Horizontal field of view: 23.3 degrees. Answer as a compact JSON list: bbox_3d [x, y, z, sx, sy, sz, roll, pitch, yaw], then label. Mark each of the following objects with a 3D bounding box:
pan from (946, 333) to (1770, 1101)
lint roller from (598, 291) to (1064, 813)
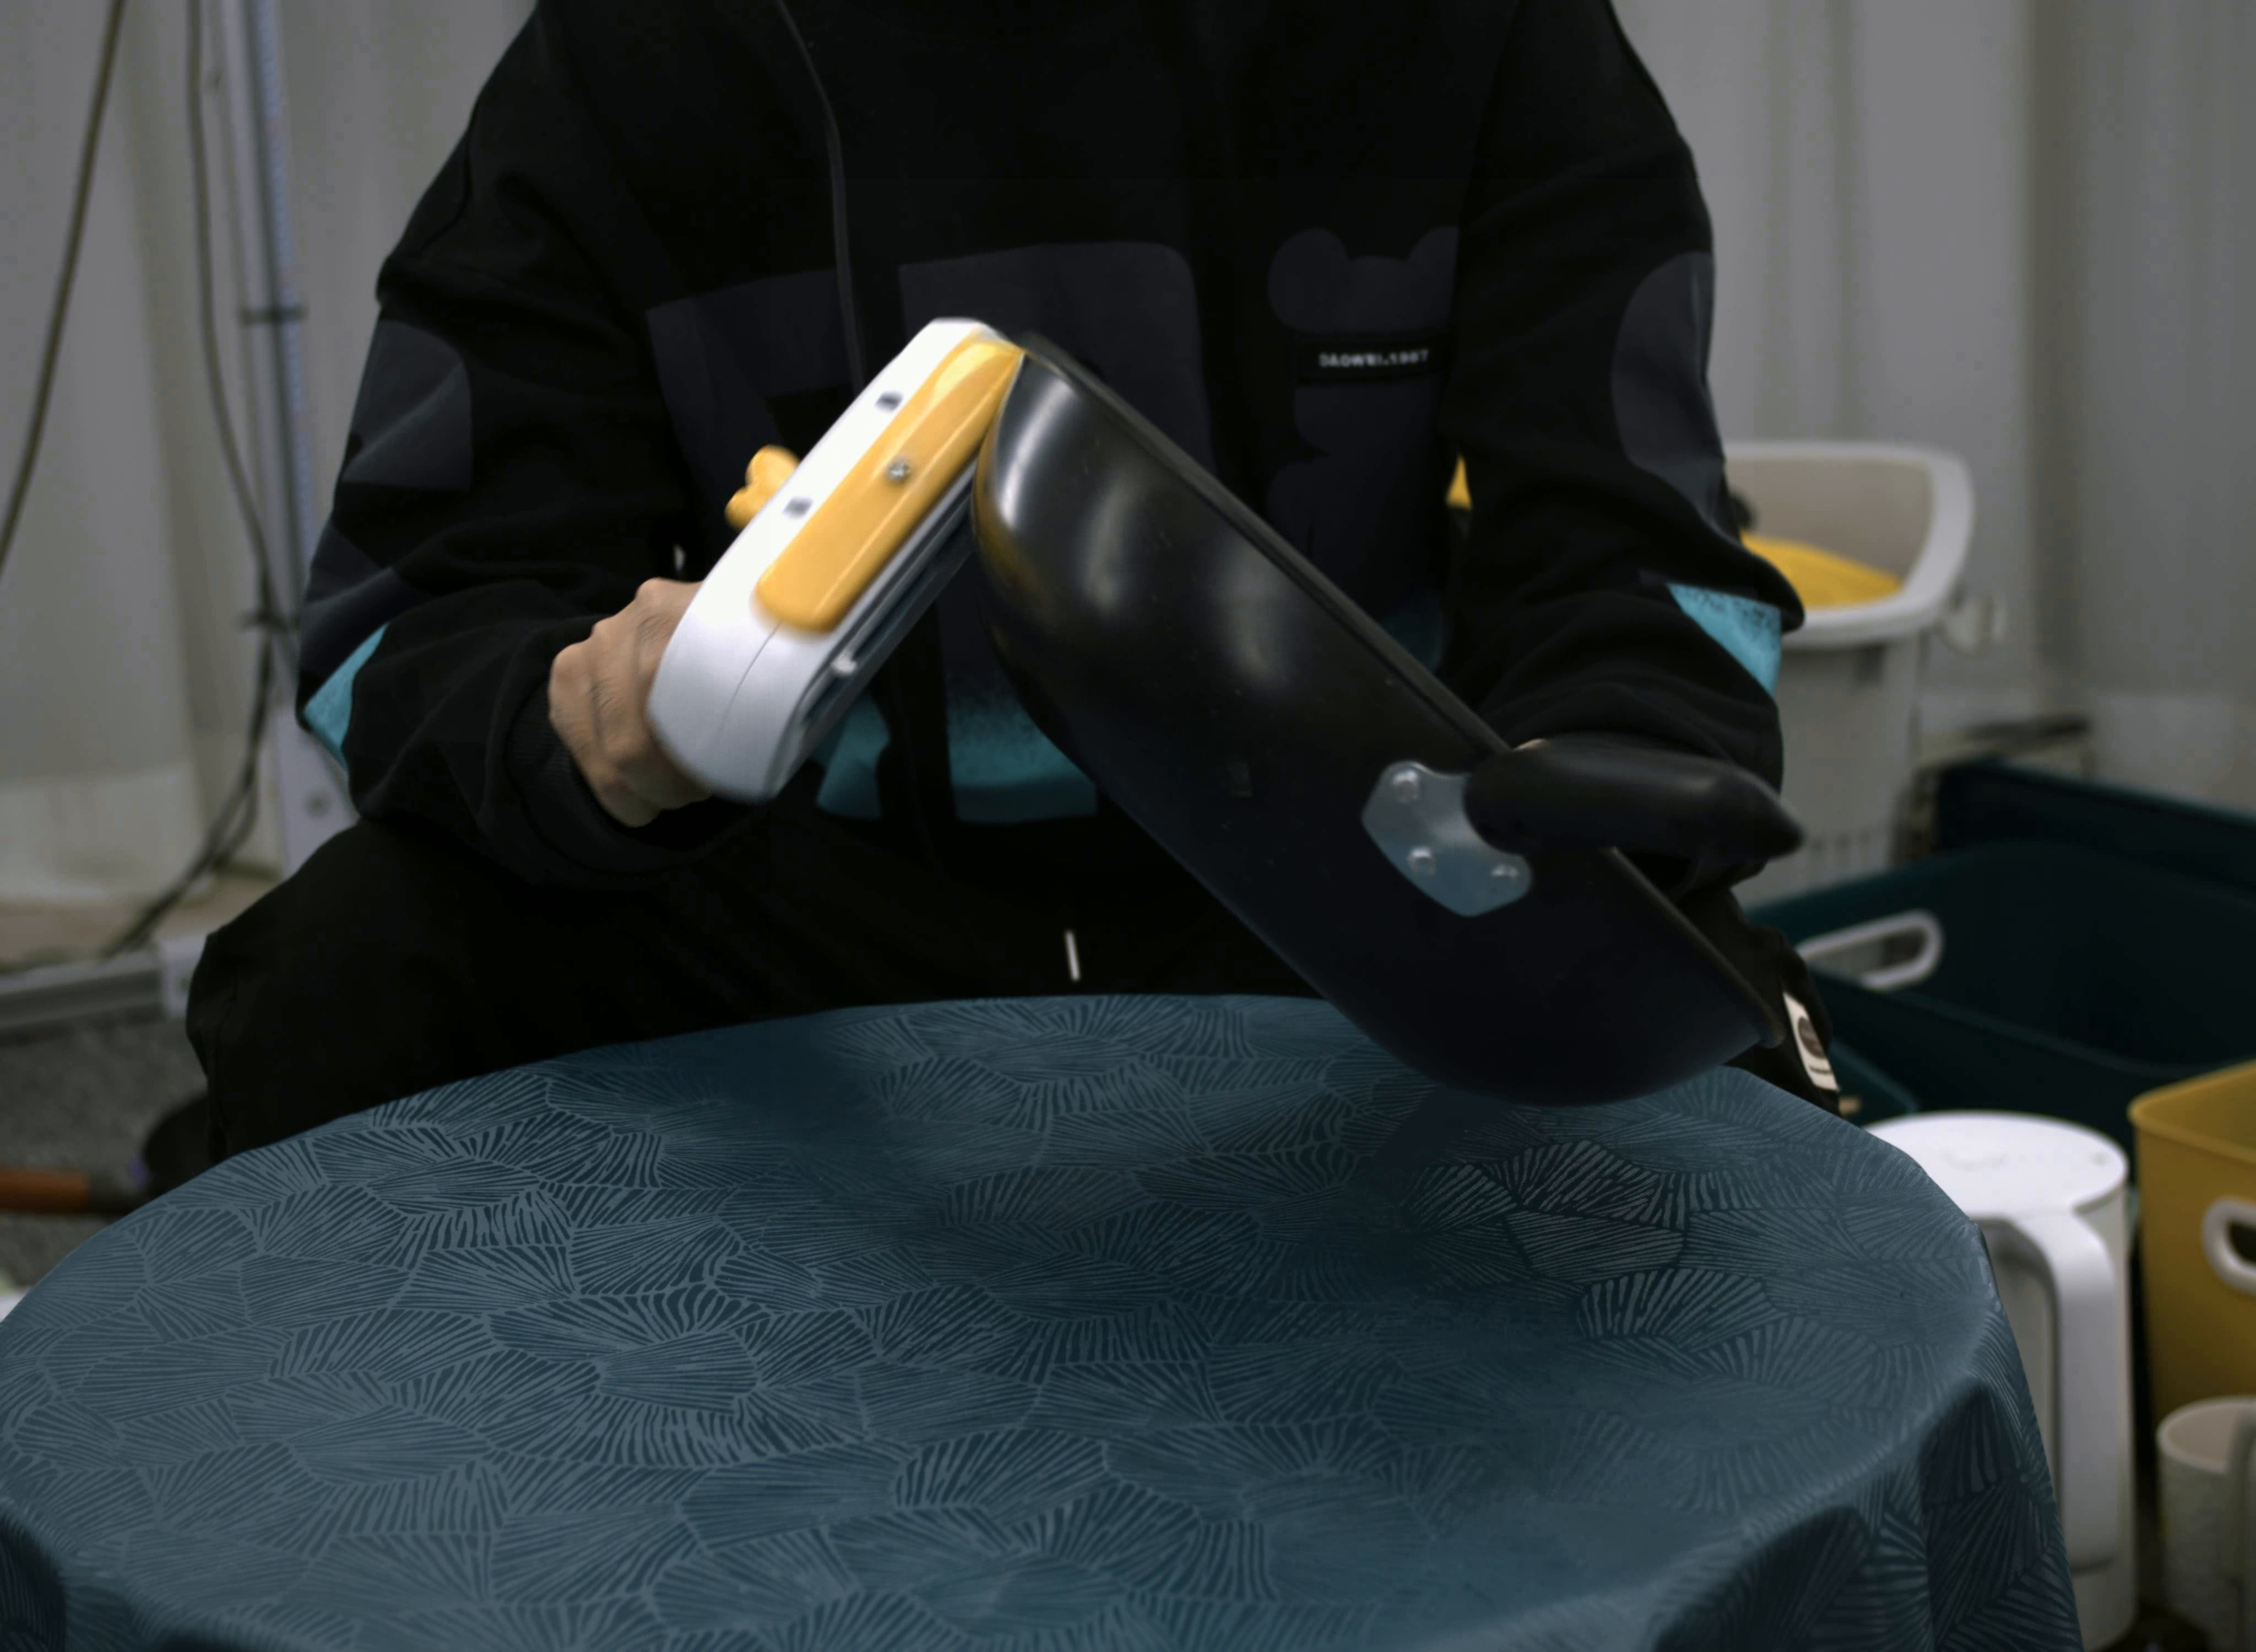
[{"bbox_3d":[0.072,-0.008,1.556,0.111,0.308,0.479,-48,14,1],"label":"pan"},{"bbox_3d":[-0.106,-0.063,1.715,0.074,0.191,0.195,32,43,-2],"label":"lint roller"}]
